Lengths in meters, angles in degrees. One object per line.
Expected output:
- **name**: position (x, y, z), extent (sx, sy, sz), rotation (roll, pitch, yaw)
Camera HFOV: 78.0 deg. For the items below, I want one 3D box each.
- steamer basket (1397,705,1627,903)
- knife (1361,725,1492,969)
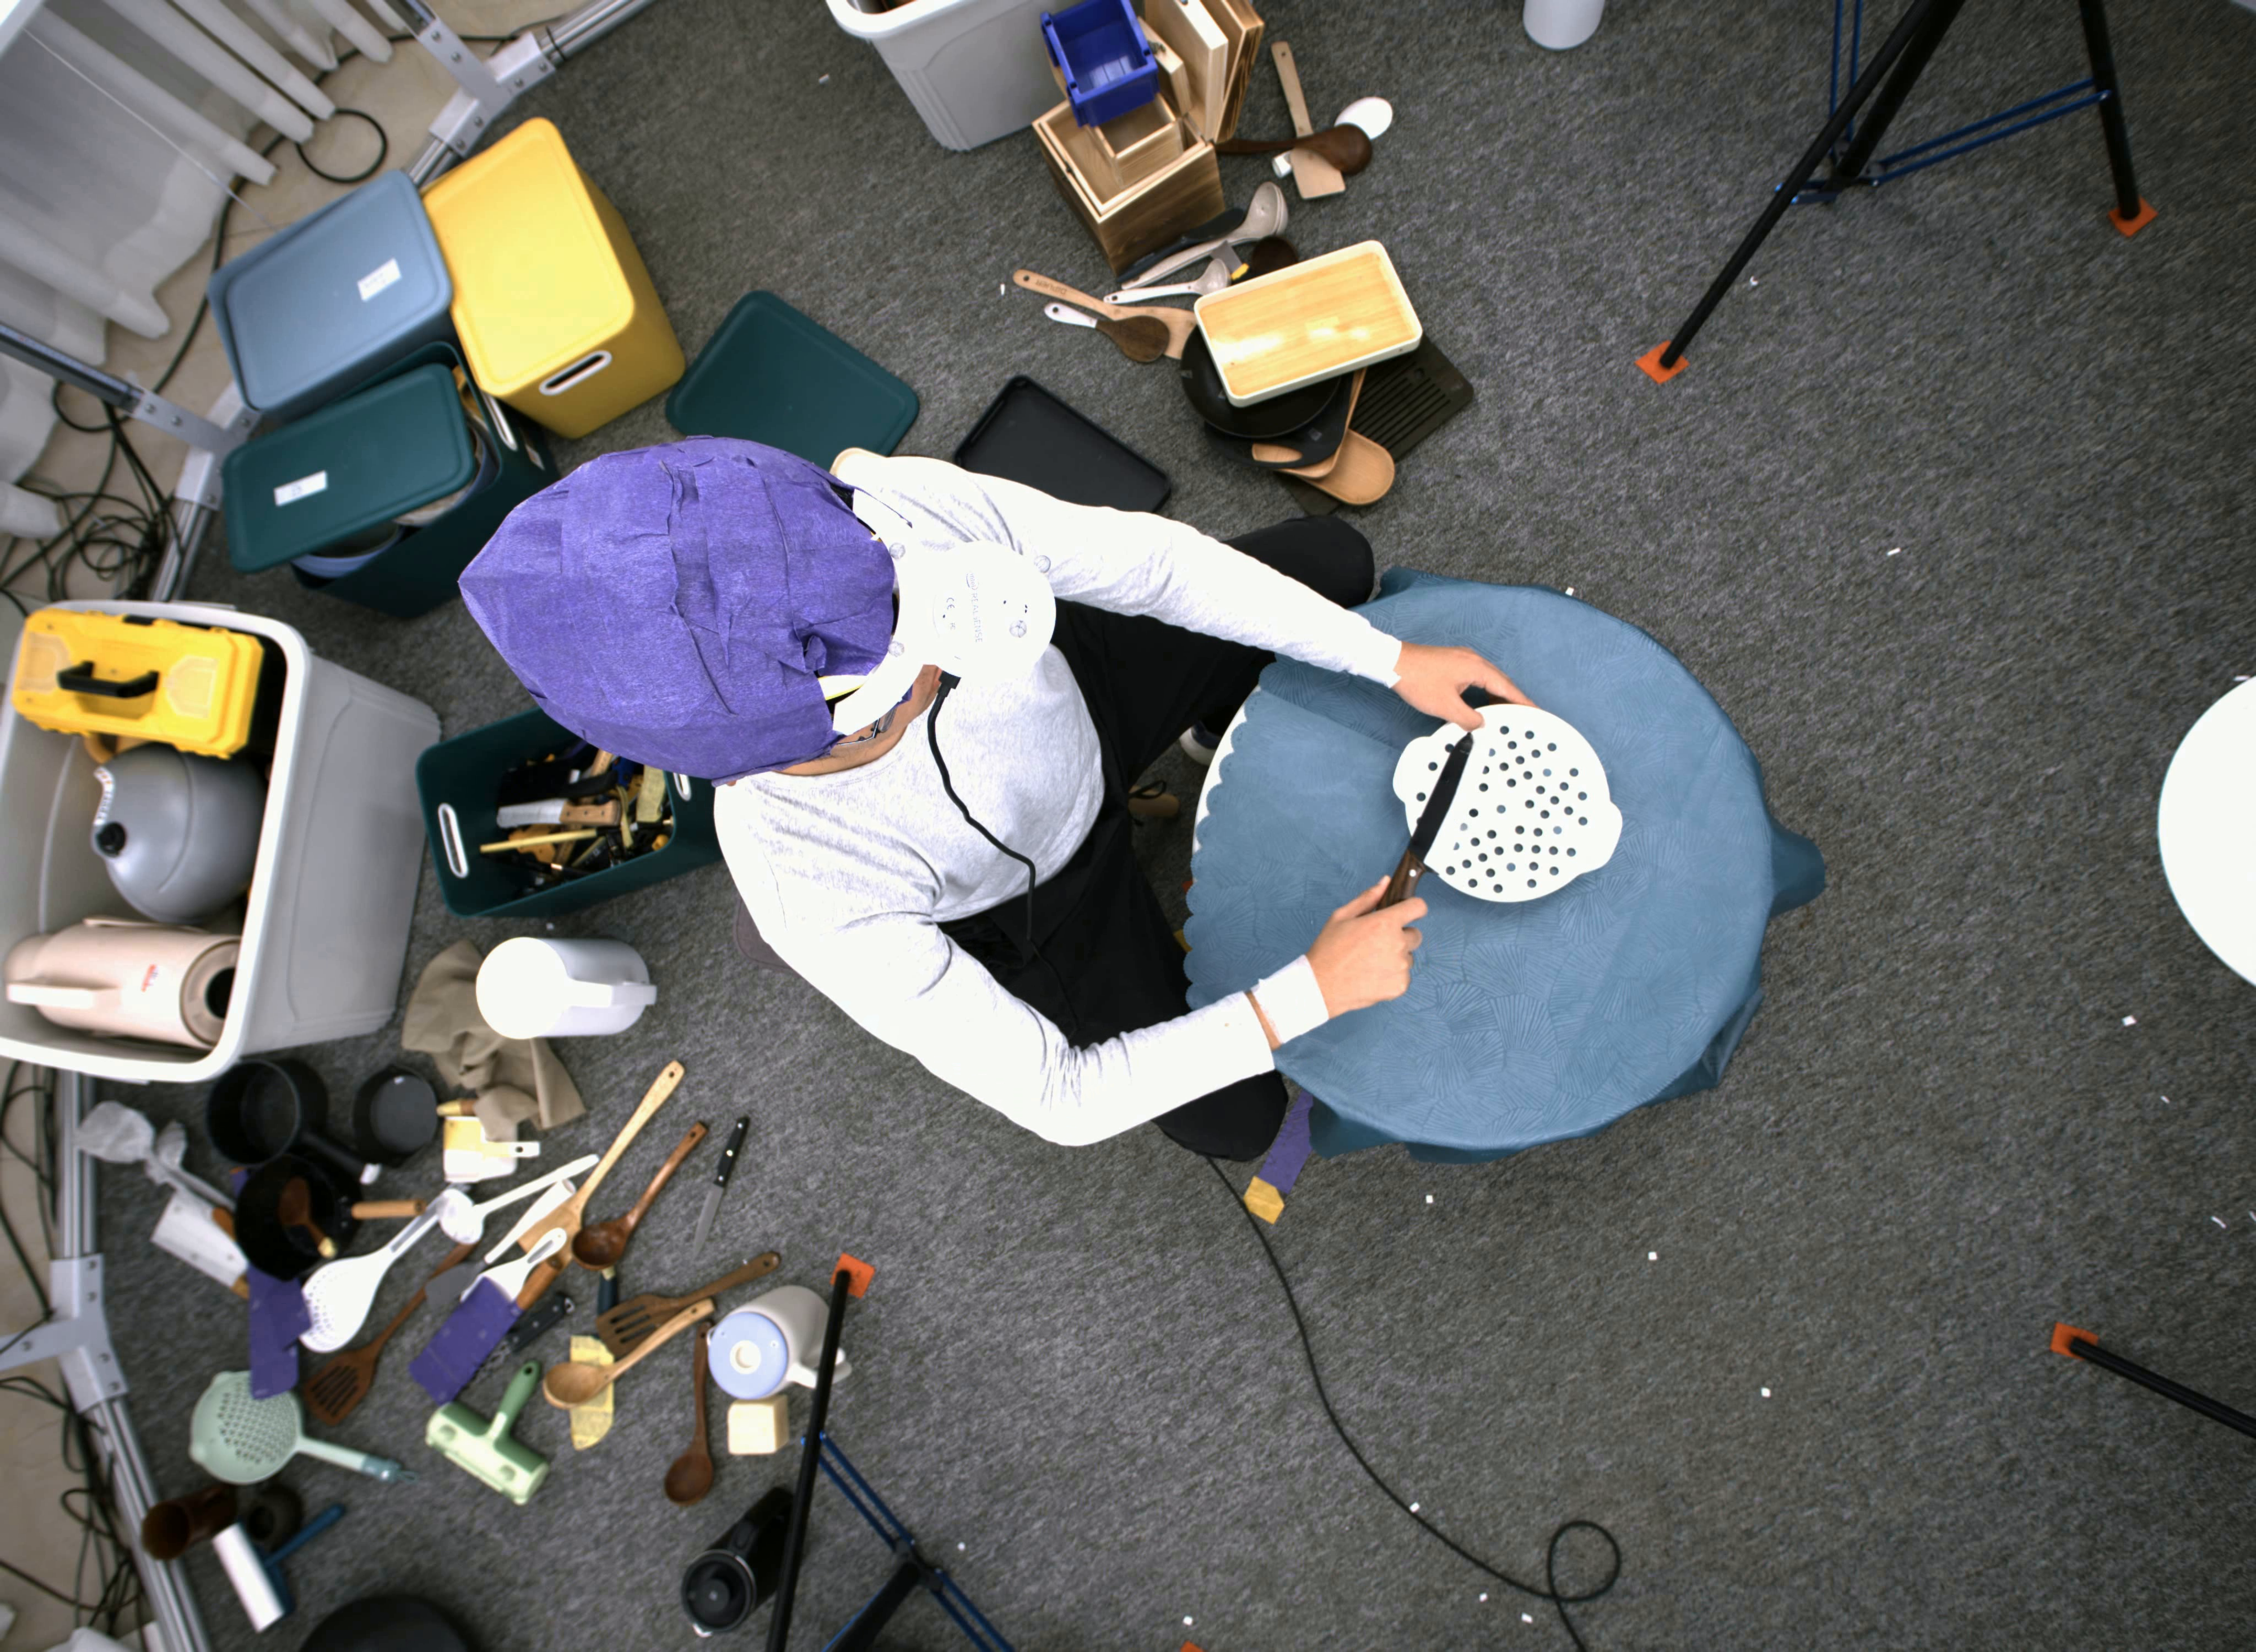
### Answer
- **steamer basket**: position (0.390, -0.022, 1.409), extent (0.230, 0.069, 0.202), rotation (22, 90, 12)
- **knife**: position (0.294, 0.015, 1.336), extent (0.050, 0.020, 0.285), rotation (34, 74, -13)
